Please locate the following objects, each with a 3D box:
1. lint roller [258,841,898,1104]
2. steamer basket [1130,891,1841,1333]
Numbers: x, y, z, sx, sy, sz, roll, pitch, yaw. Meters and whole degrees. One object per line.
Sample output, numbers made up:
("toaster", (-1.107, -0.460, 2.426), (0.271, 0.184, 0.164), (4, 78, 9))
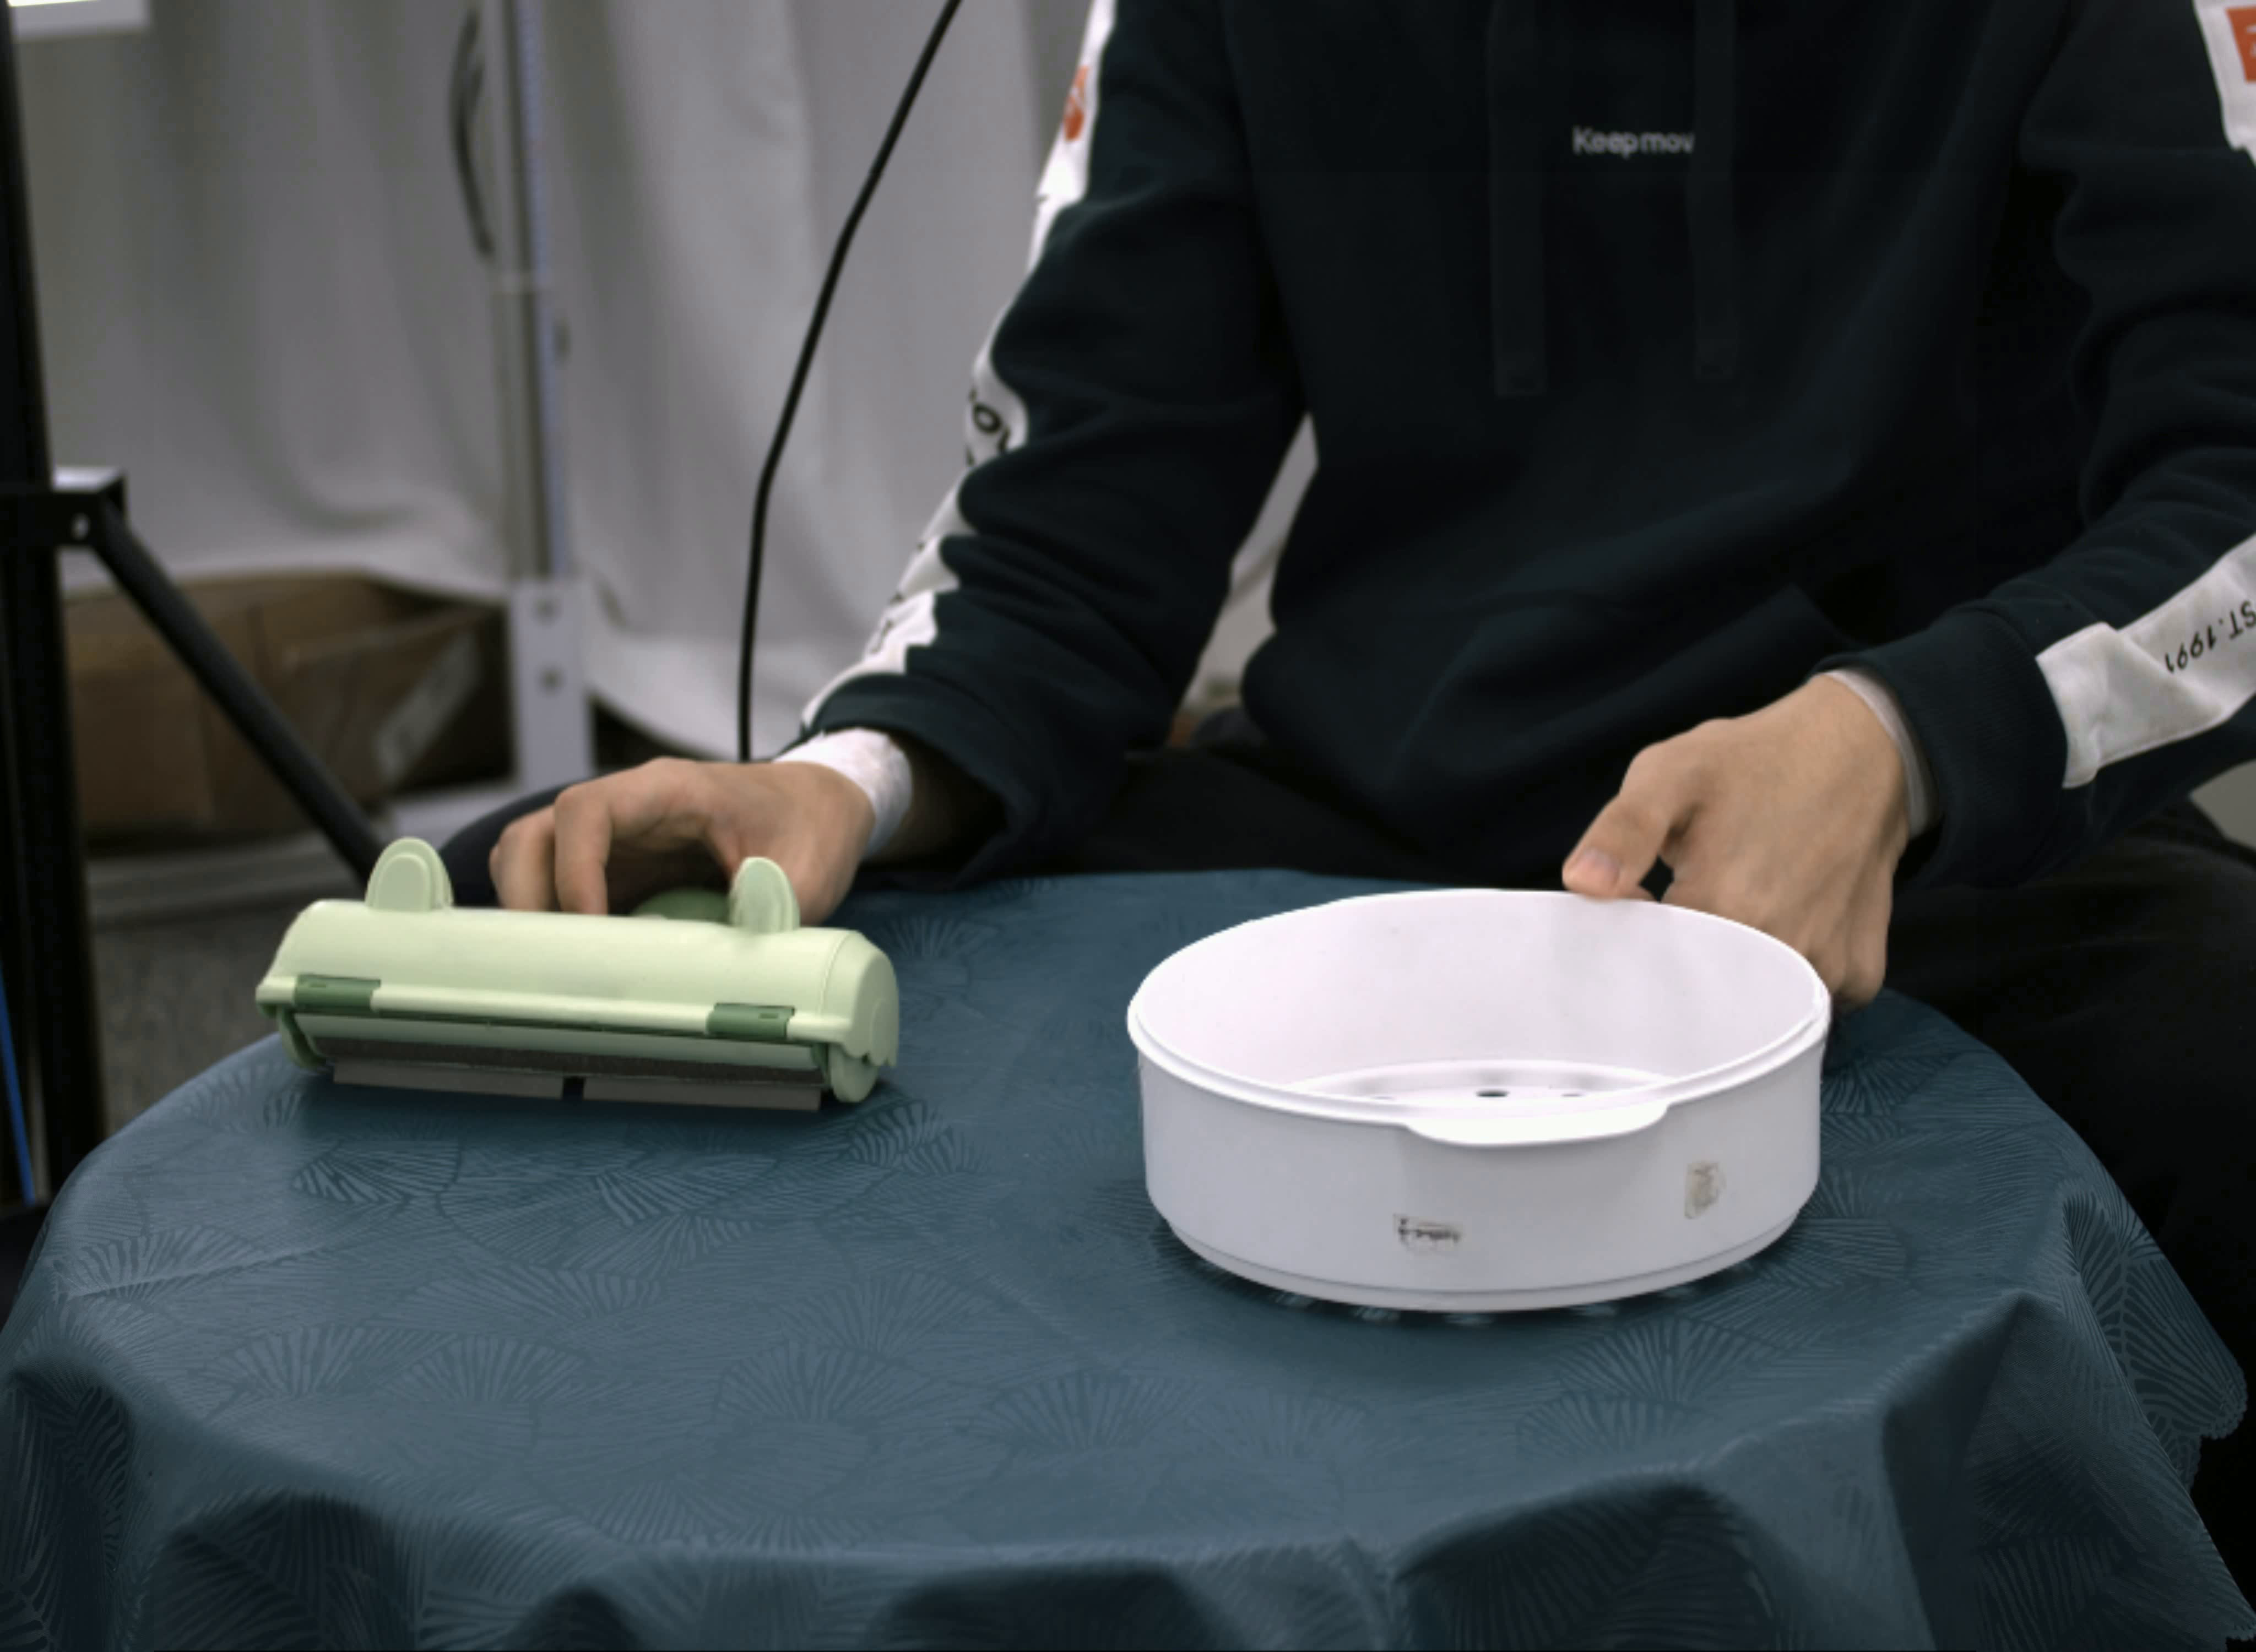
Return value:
("lint roller", (-0.157, 0.030, 1.719), (0.200, 0.082, 0.182), (2, 21, 17))
("steamer basket", (0.102, 0.081, 1.510), (0.200, 0.069, 0.232), (-5, 18, -5))
